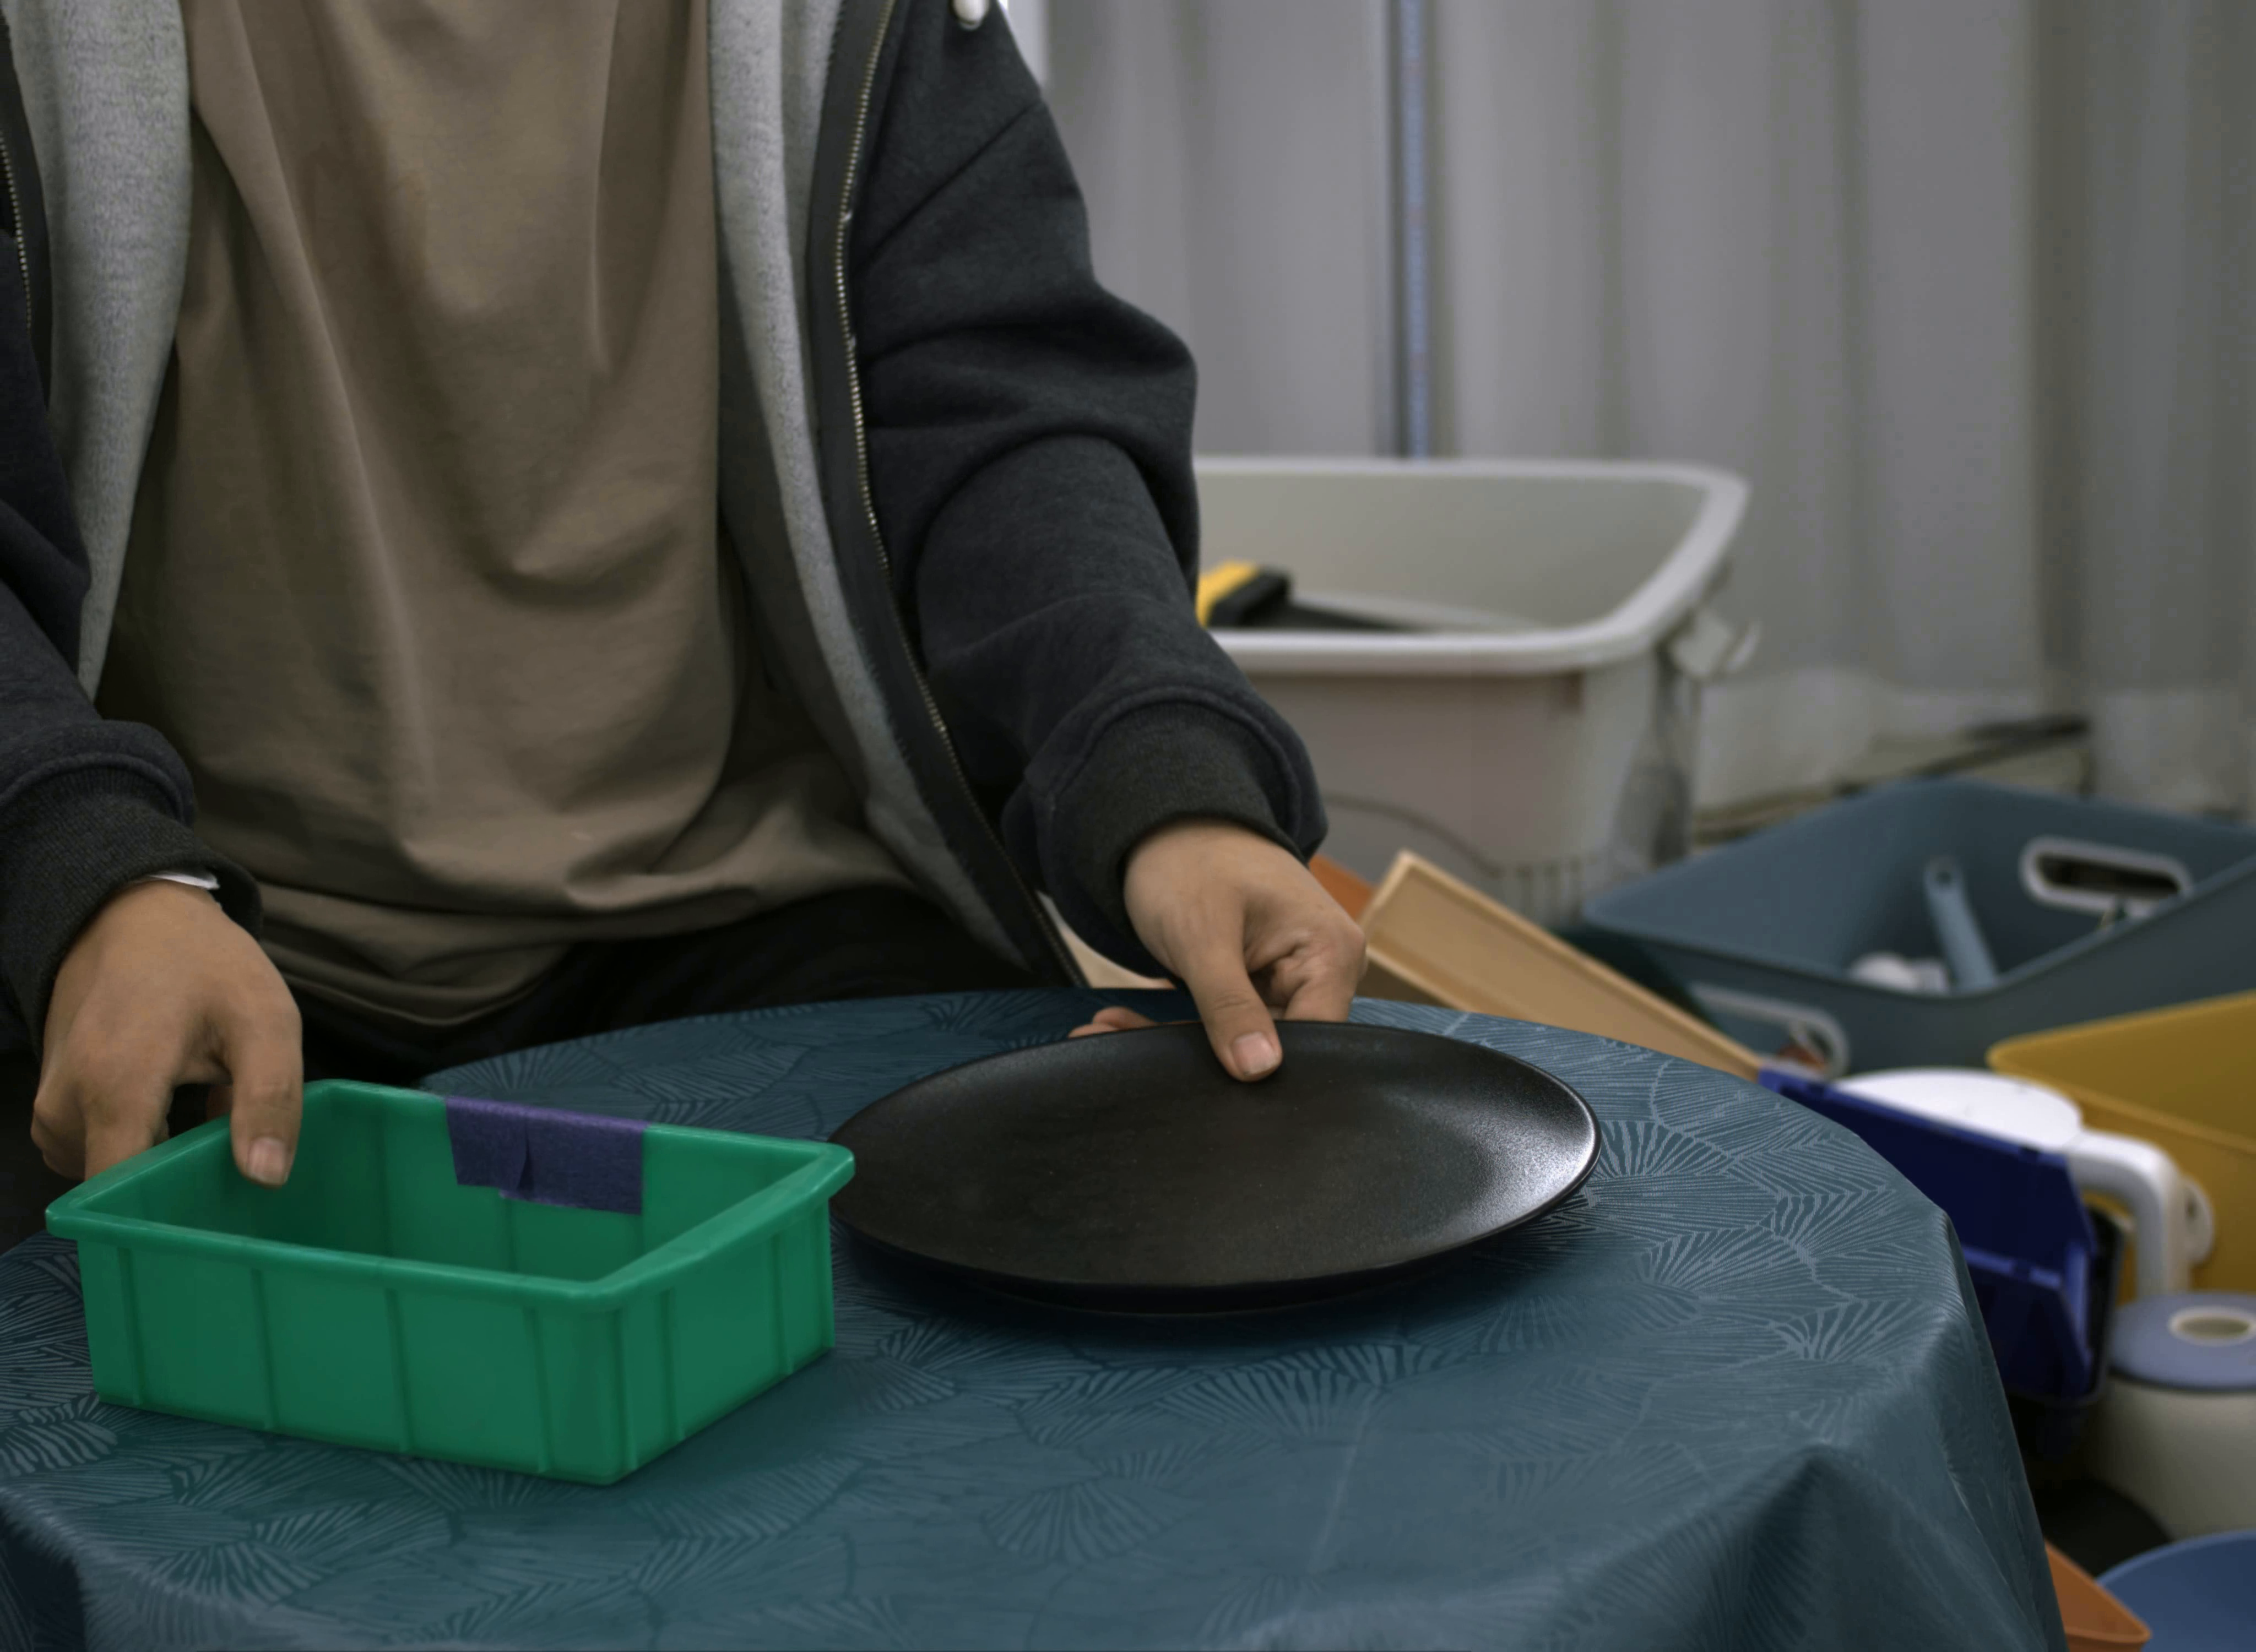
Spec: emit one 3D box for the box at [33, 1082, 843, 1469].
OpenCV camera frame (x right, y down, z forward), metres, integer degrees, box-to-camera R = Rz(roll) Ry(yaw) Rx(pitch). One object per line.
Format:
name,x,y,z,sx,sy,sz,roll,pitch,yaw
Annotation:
box,-0.196,0.129,1.578,0.211,0.065,0.139,3,14,28

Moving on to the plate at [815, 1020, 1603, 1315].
plate,0.025,0.108,1.687,0.243,0.023,0.246,-3,16,1
